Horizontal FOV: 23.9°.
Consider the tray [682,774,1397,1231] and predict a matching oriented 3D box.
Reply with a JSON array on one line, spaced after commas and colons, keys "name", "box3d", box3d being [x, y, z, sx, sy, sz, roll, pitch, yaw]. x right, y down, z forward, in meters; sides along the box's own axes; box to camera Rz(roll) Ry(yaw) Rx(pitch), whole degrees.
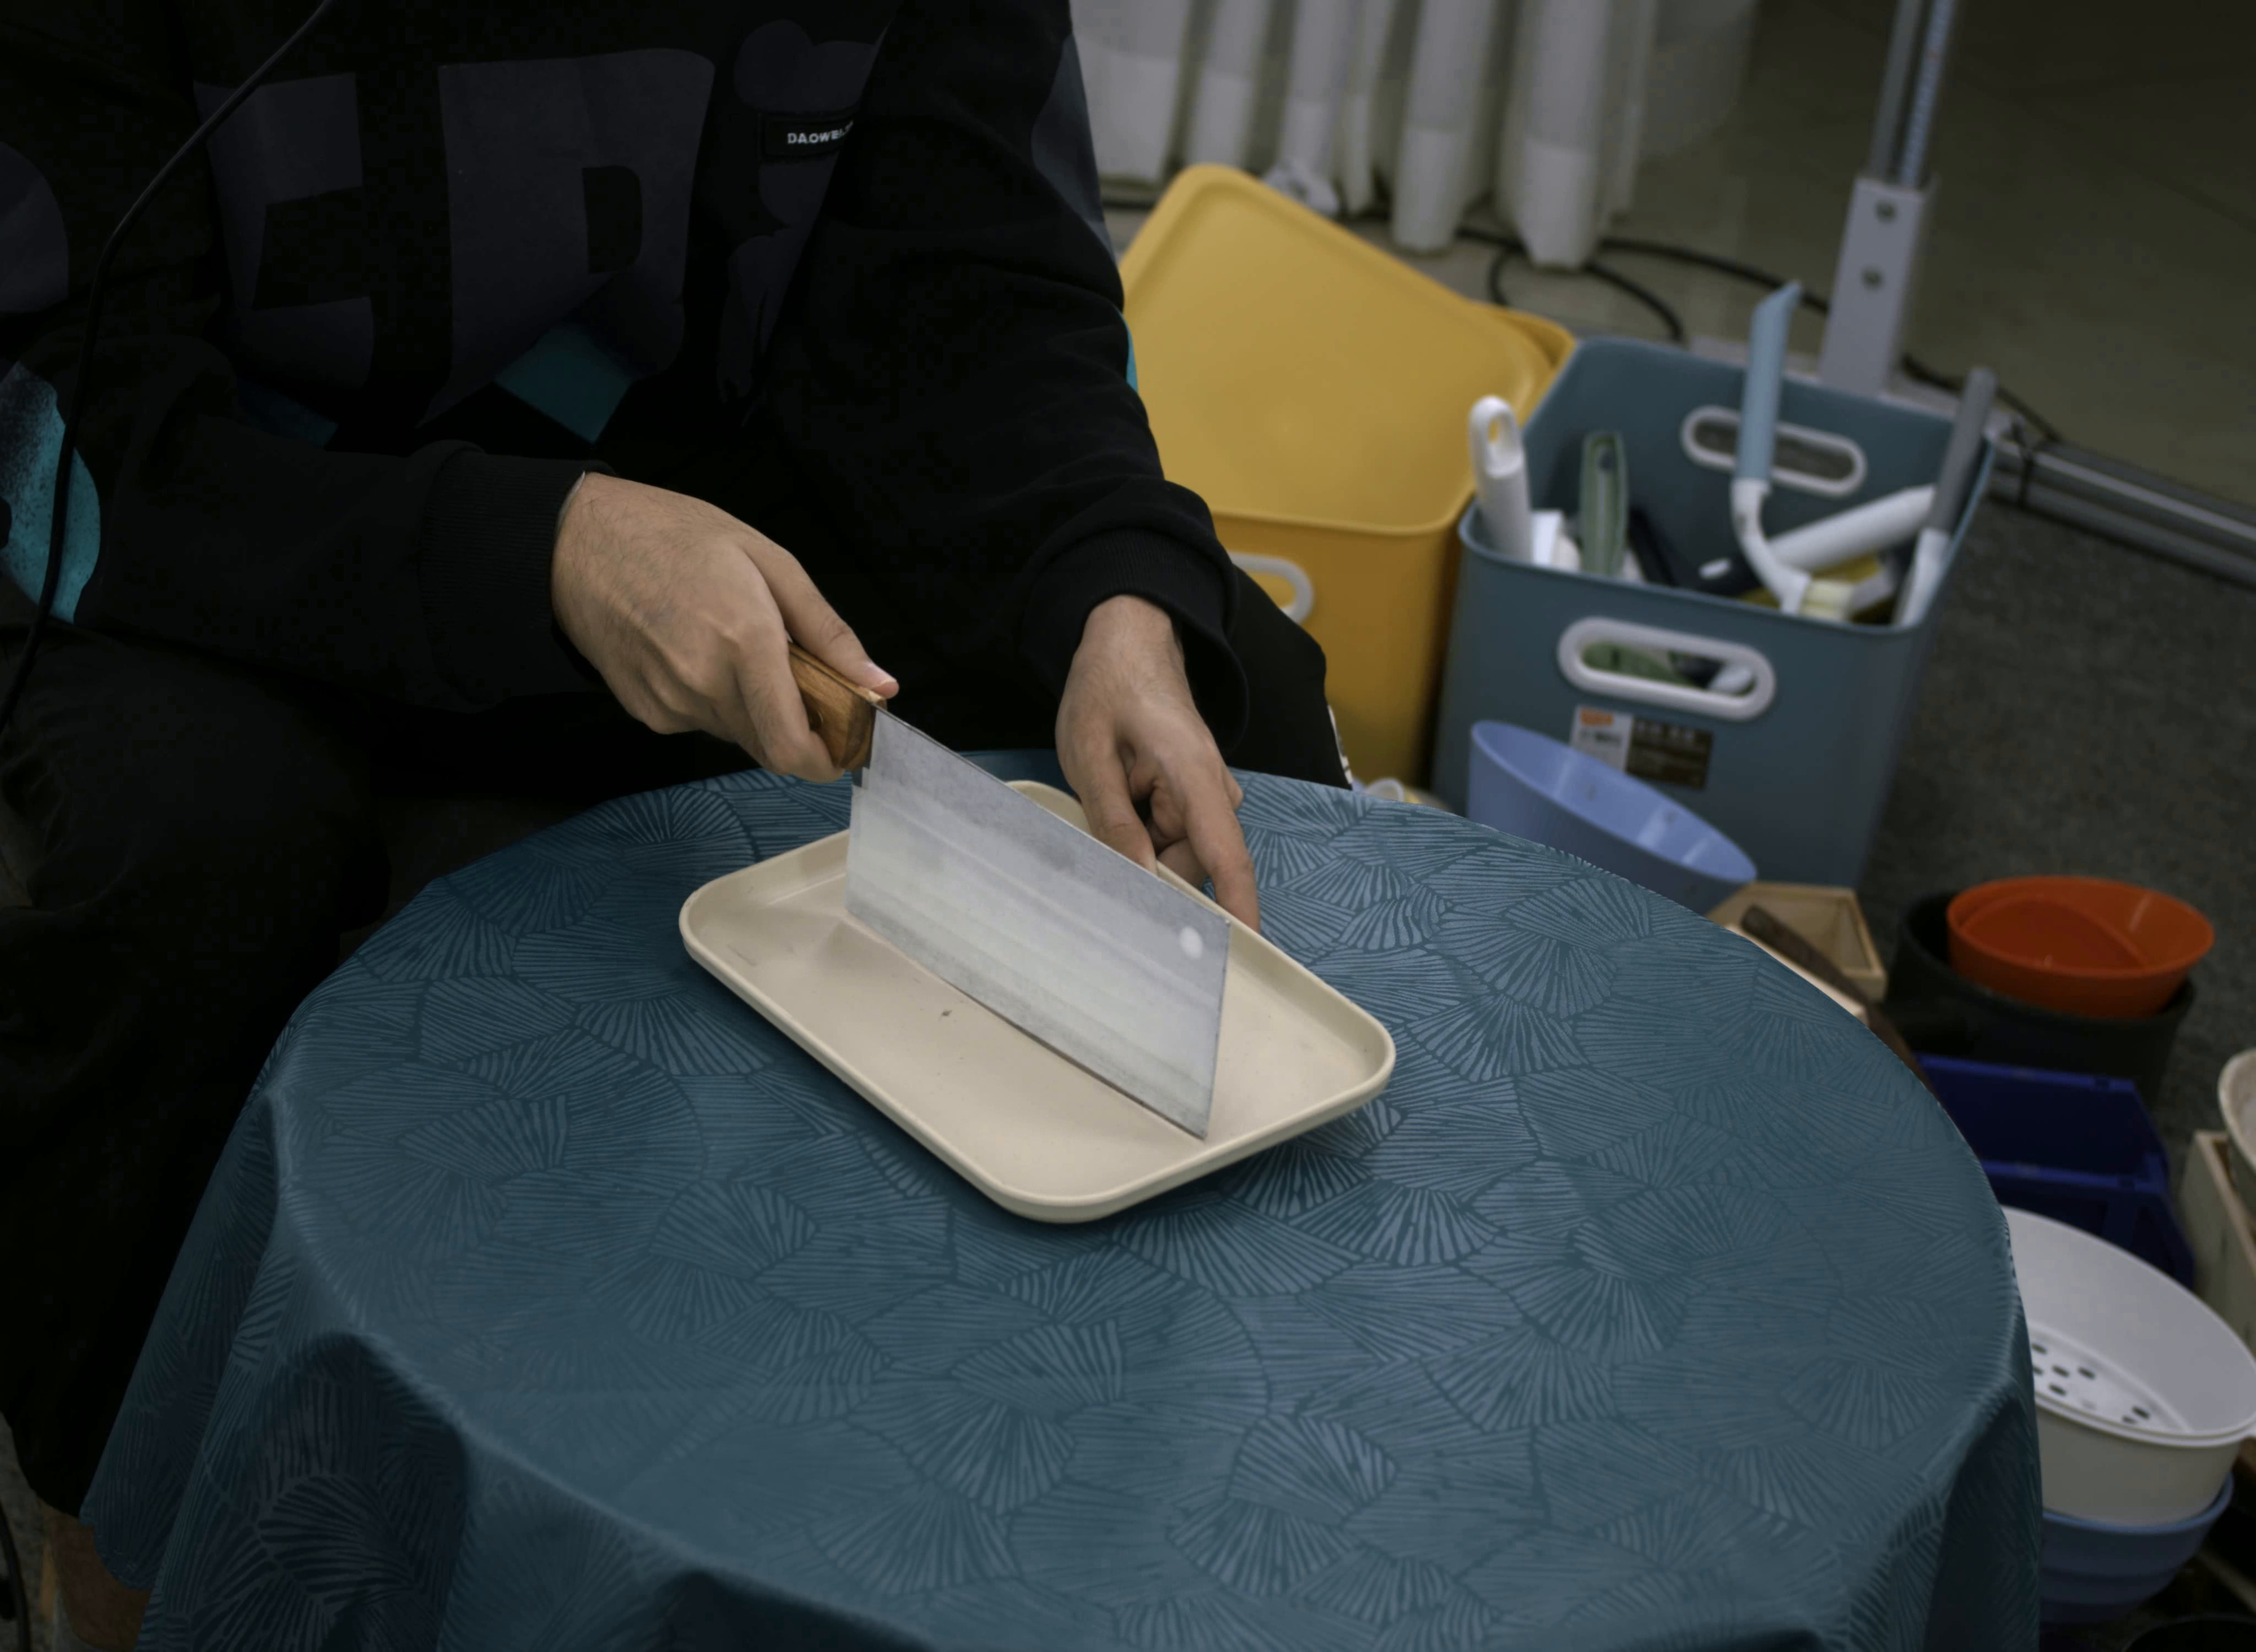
[{"name": "tray", "box3d": [-0.034, 0.060, 1.878, 0.170, 0.017, 0.242, -22, 40, -31]}]

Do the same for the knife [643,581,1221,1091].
[{"name": "knife", "box3d": [-0.073, 0.005, 1.882, 0.021, 0.092, 0.308, -21, 38, -38]}]
